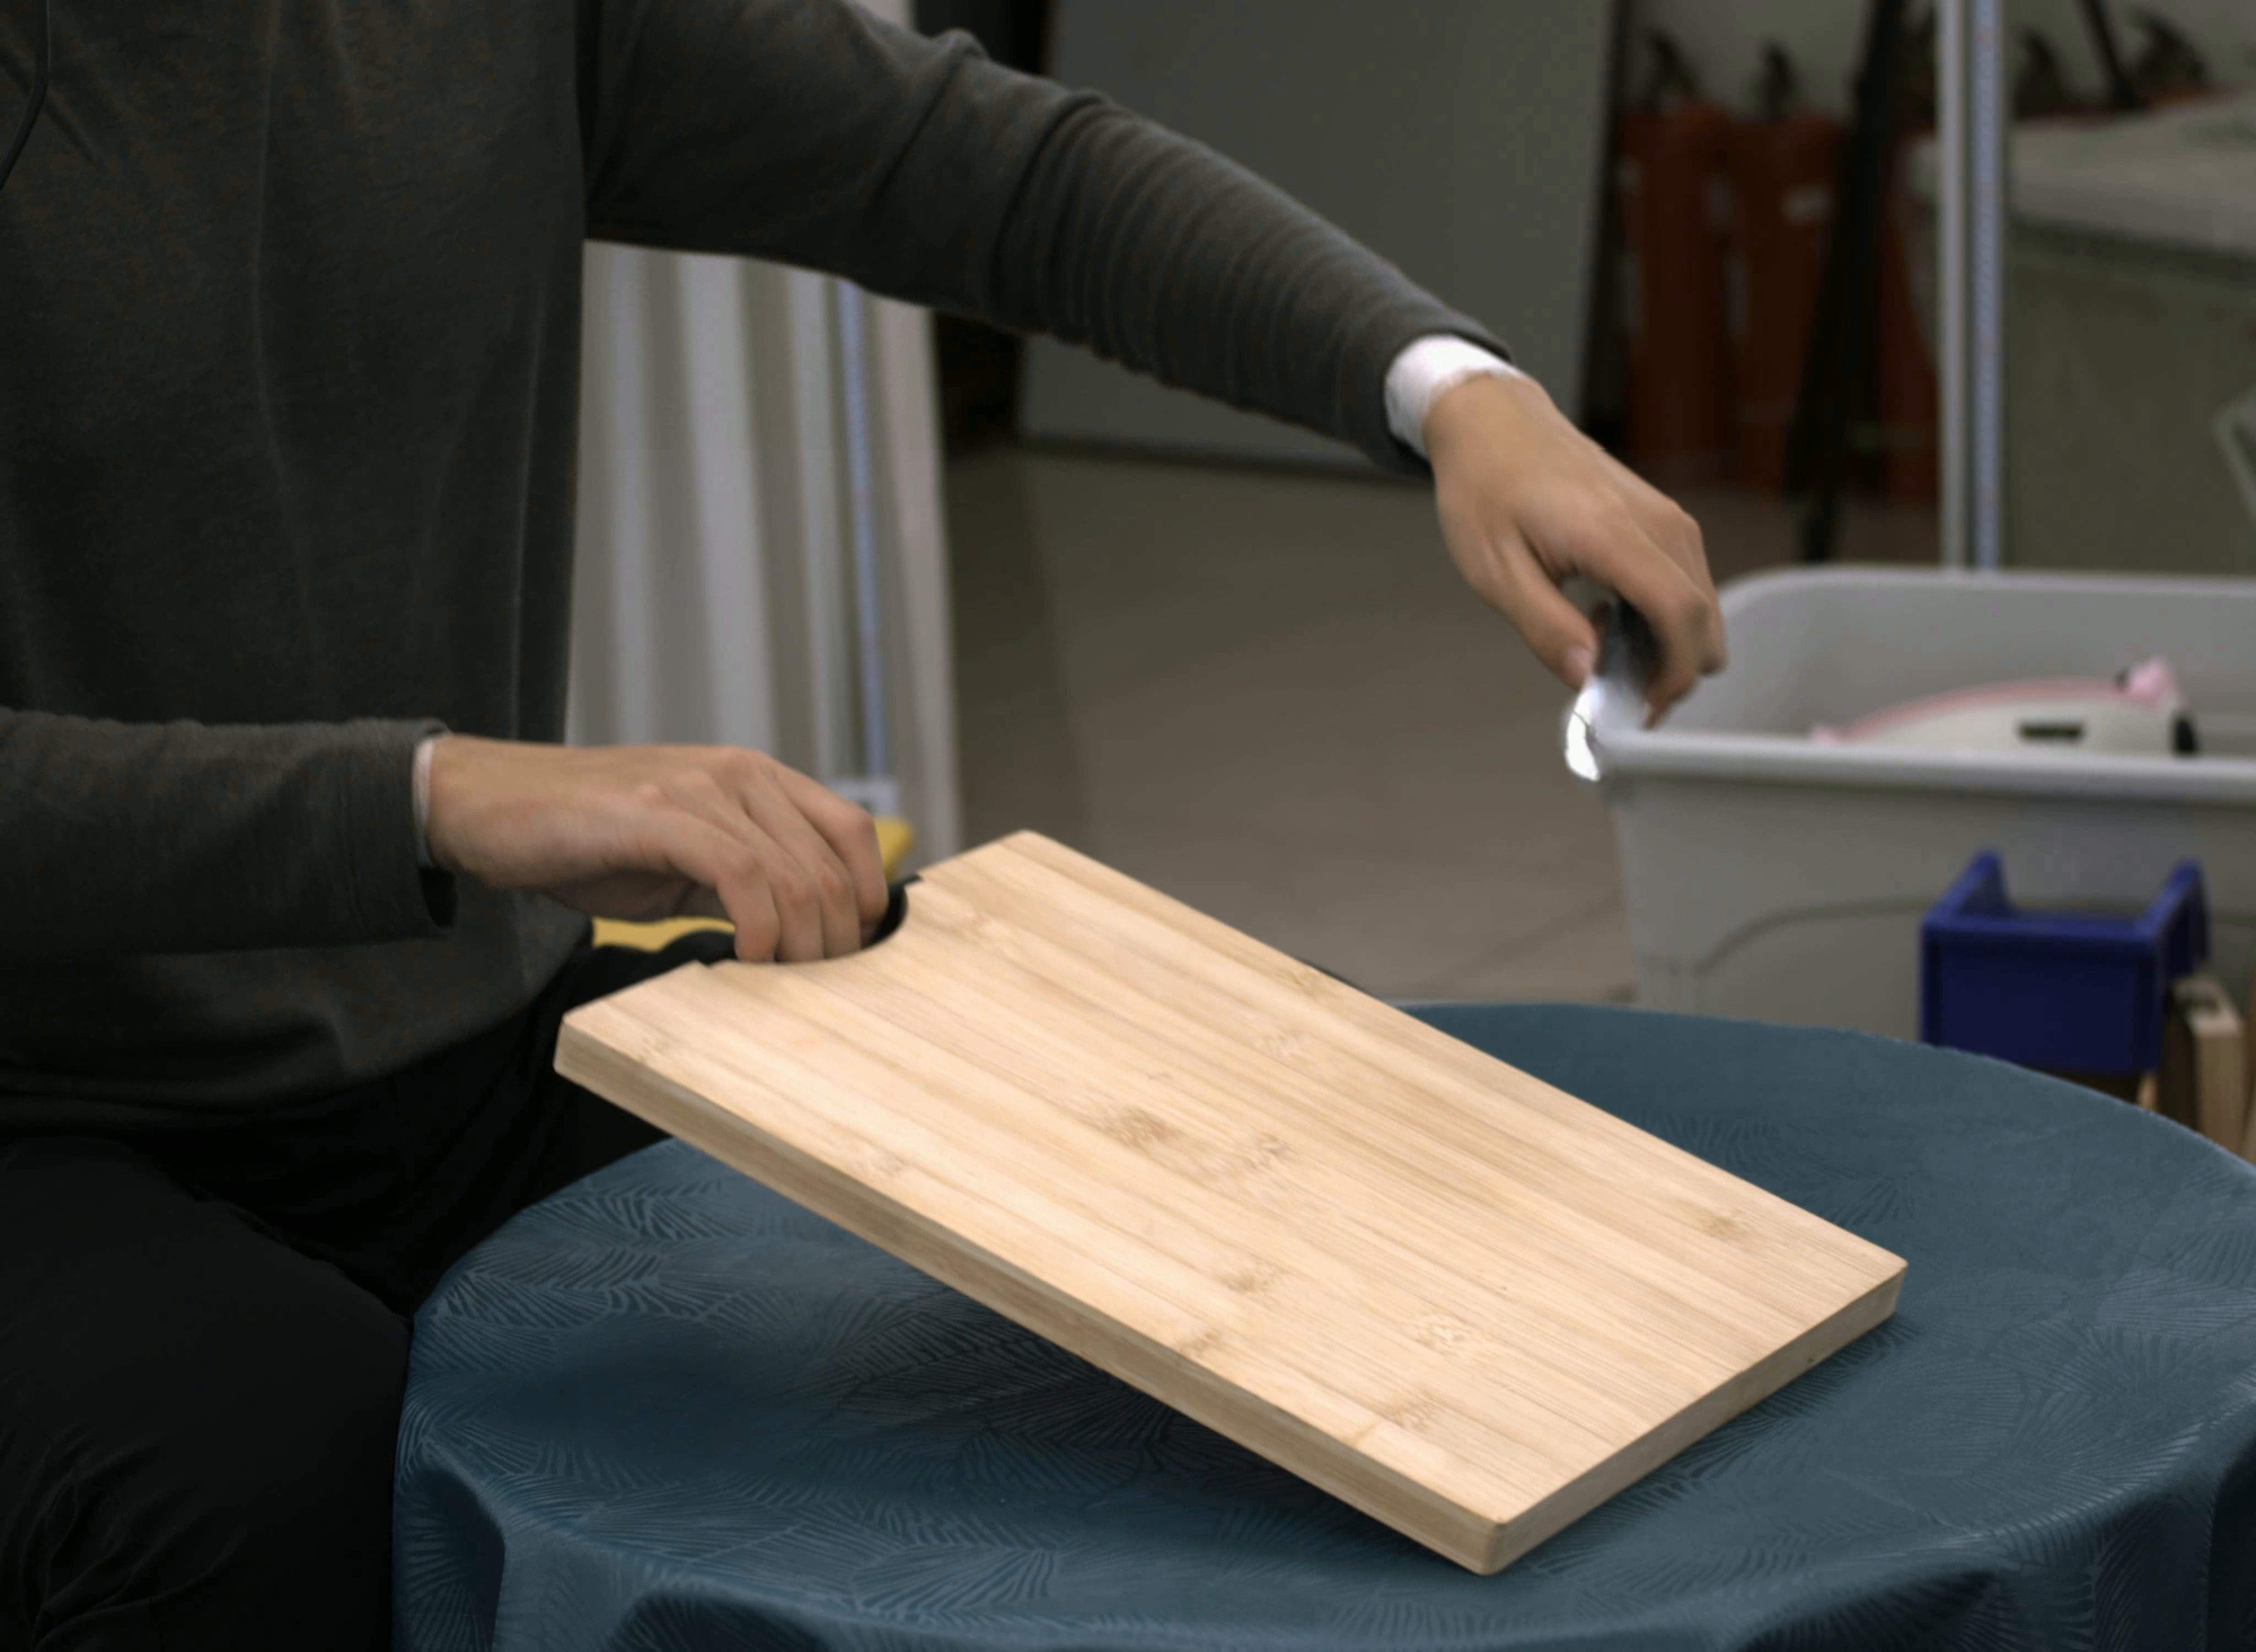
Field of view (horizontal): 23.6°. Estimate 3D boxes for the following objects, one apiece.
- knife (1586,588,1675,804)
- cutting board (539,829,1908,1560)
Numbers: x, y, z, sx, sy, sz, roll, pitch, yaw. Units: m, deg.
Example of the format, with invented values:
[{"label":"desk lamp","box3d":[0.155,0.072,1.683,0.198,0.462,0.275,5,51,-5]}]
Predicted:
[{"label":"knife","box3d":[0.161,-0.042,1.741,0.024,0.016,0.237,24,19,1]},{"label":"cutting board","box3d":[0.029,0.100,1.602,0.351,0.024,0.246,25,26,29]}]
